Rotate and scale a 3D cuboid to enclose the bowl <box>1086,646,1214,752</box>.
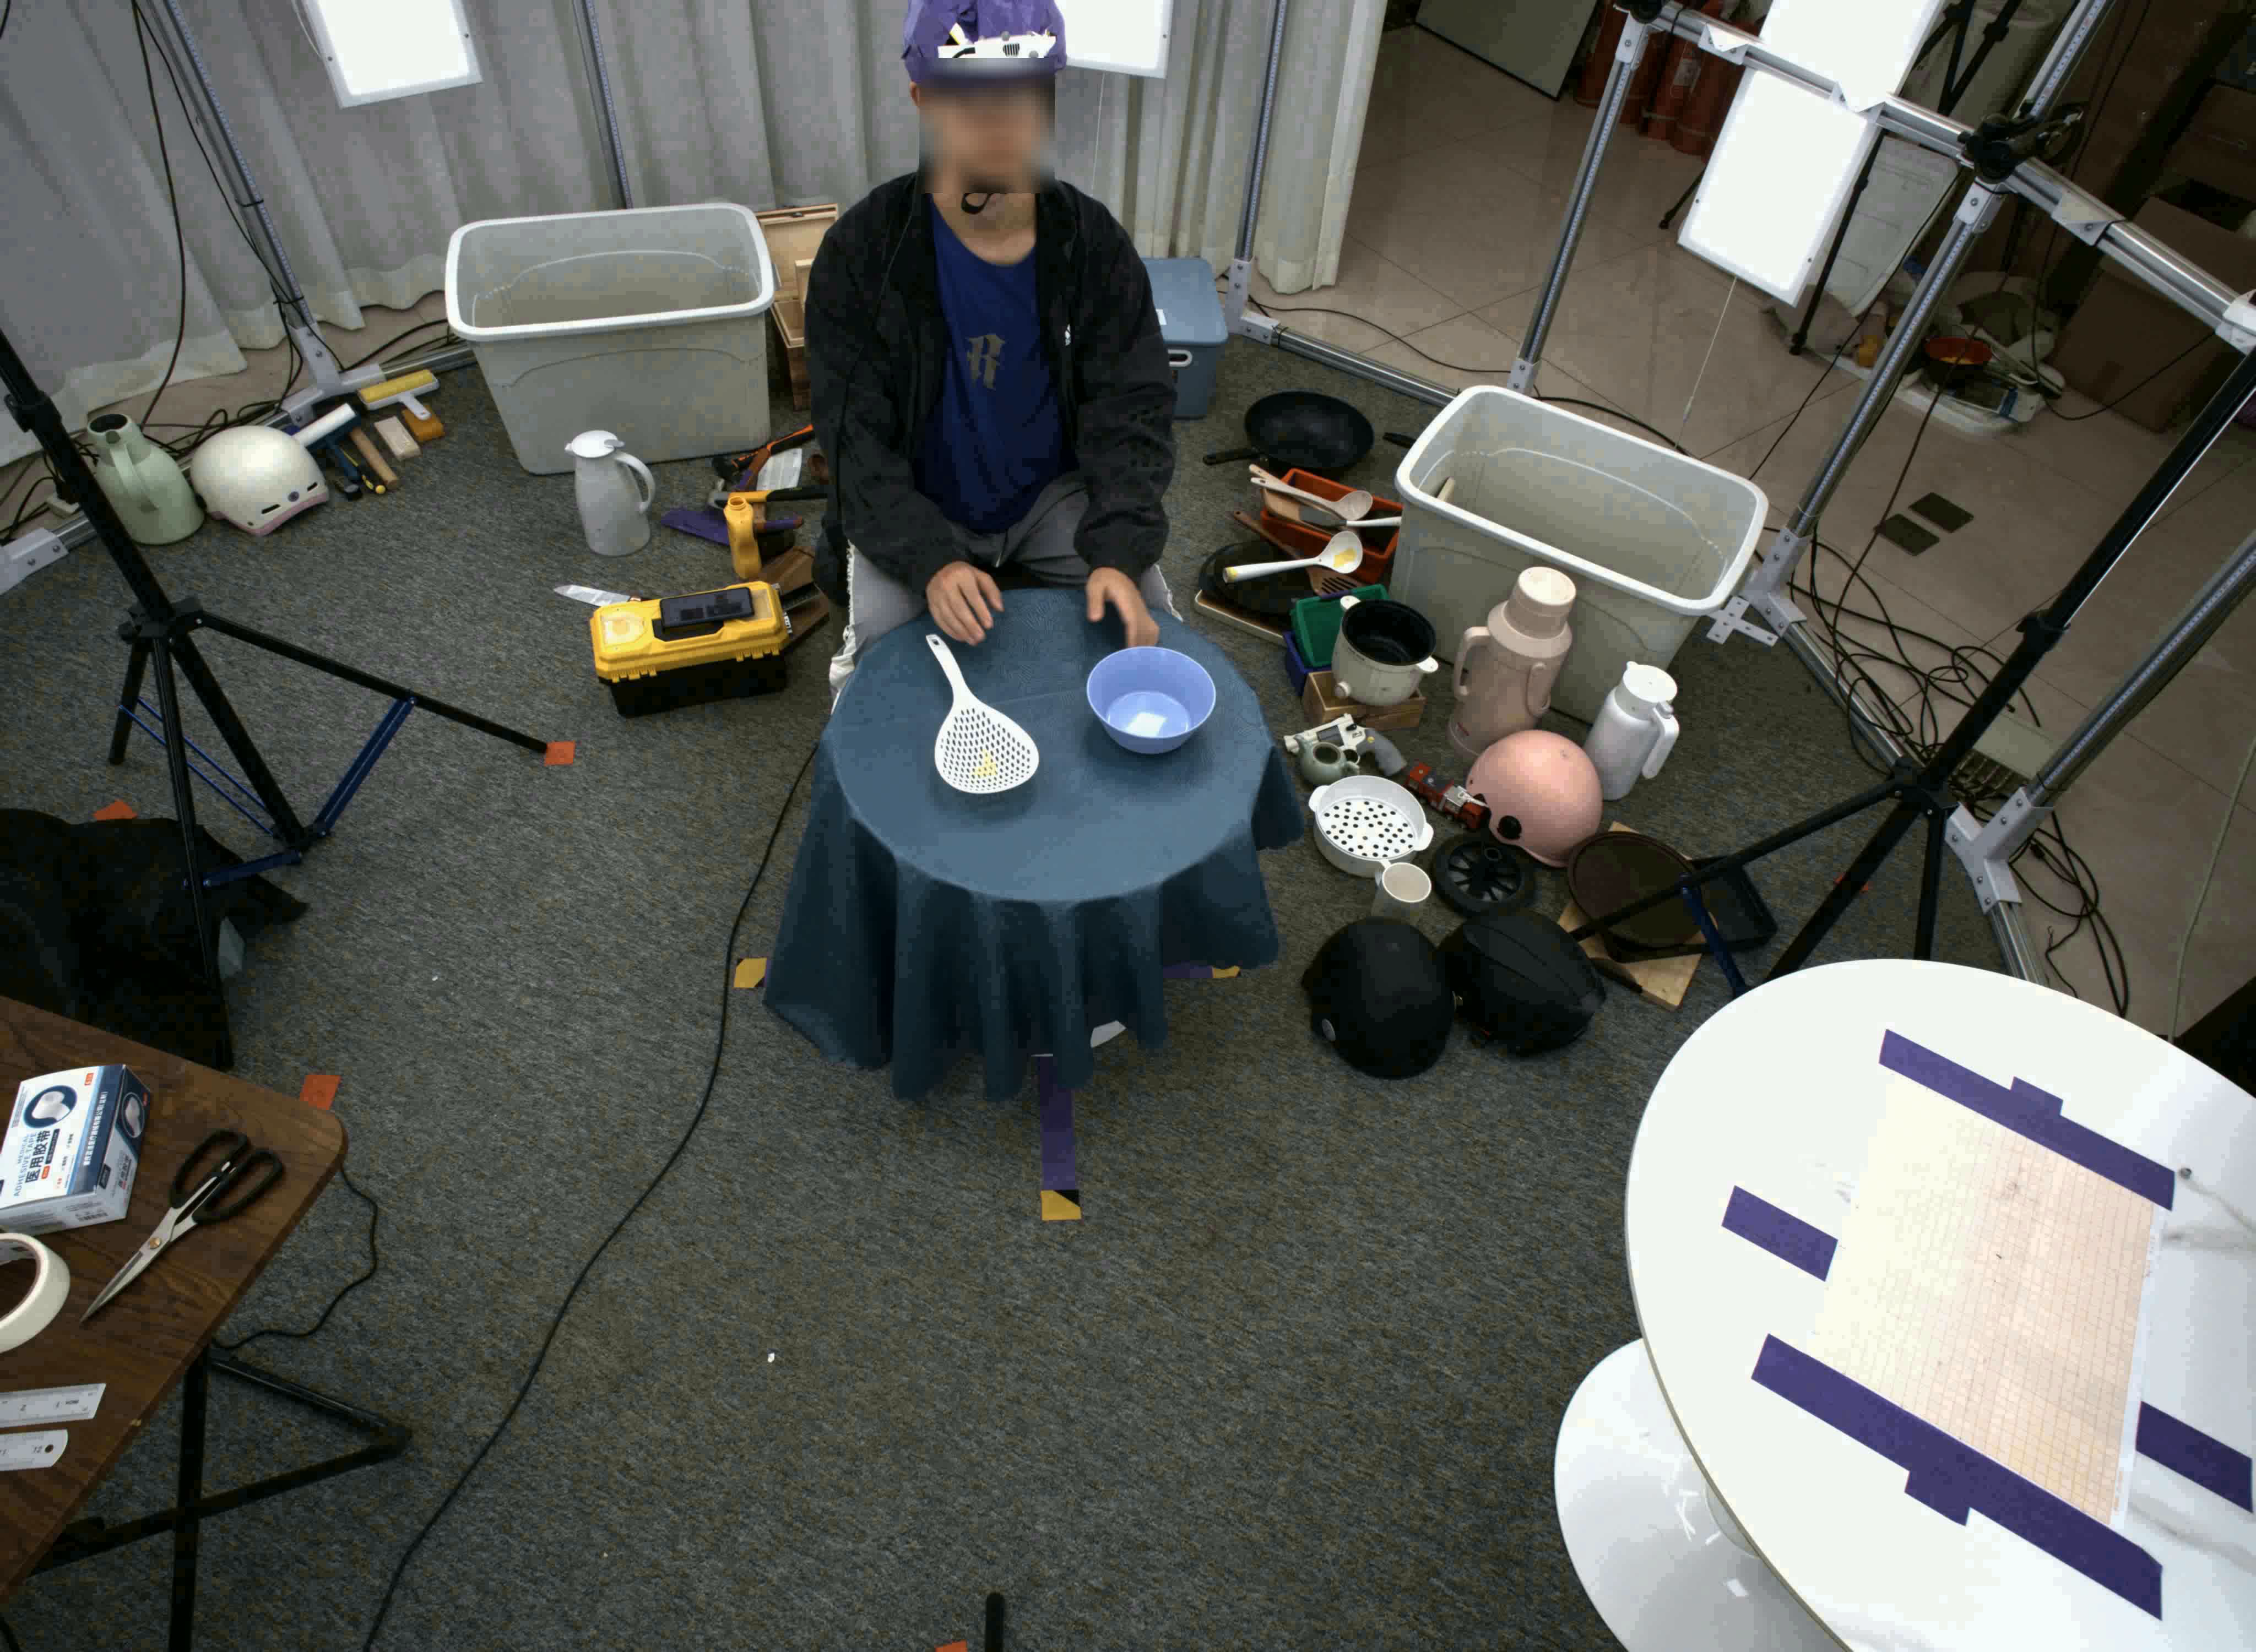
[{"bbox_3d":[0.029,-0.166,1.773,0.176,0.068,0.180,2,49,-2],"label":"bowl"}]

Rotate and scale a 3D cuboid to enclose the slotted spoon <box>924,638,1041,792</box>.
[{"bbox_3d":[-0.224,-0.164,1.773,0.137,0.049,0.356,-17,52,-12],"label":"slotted spoon"}]
